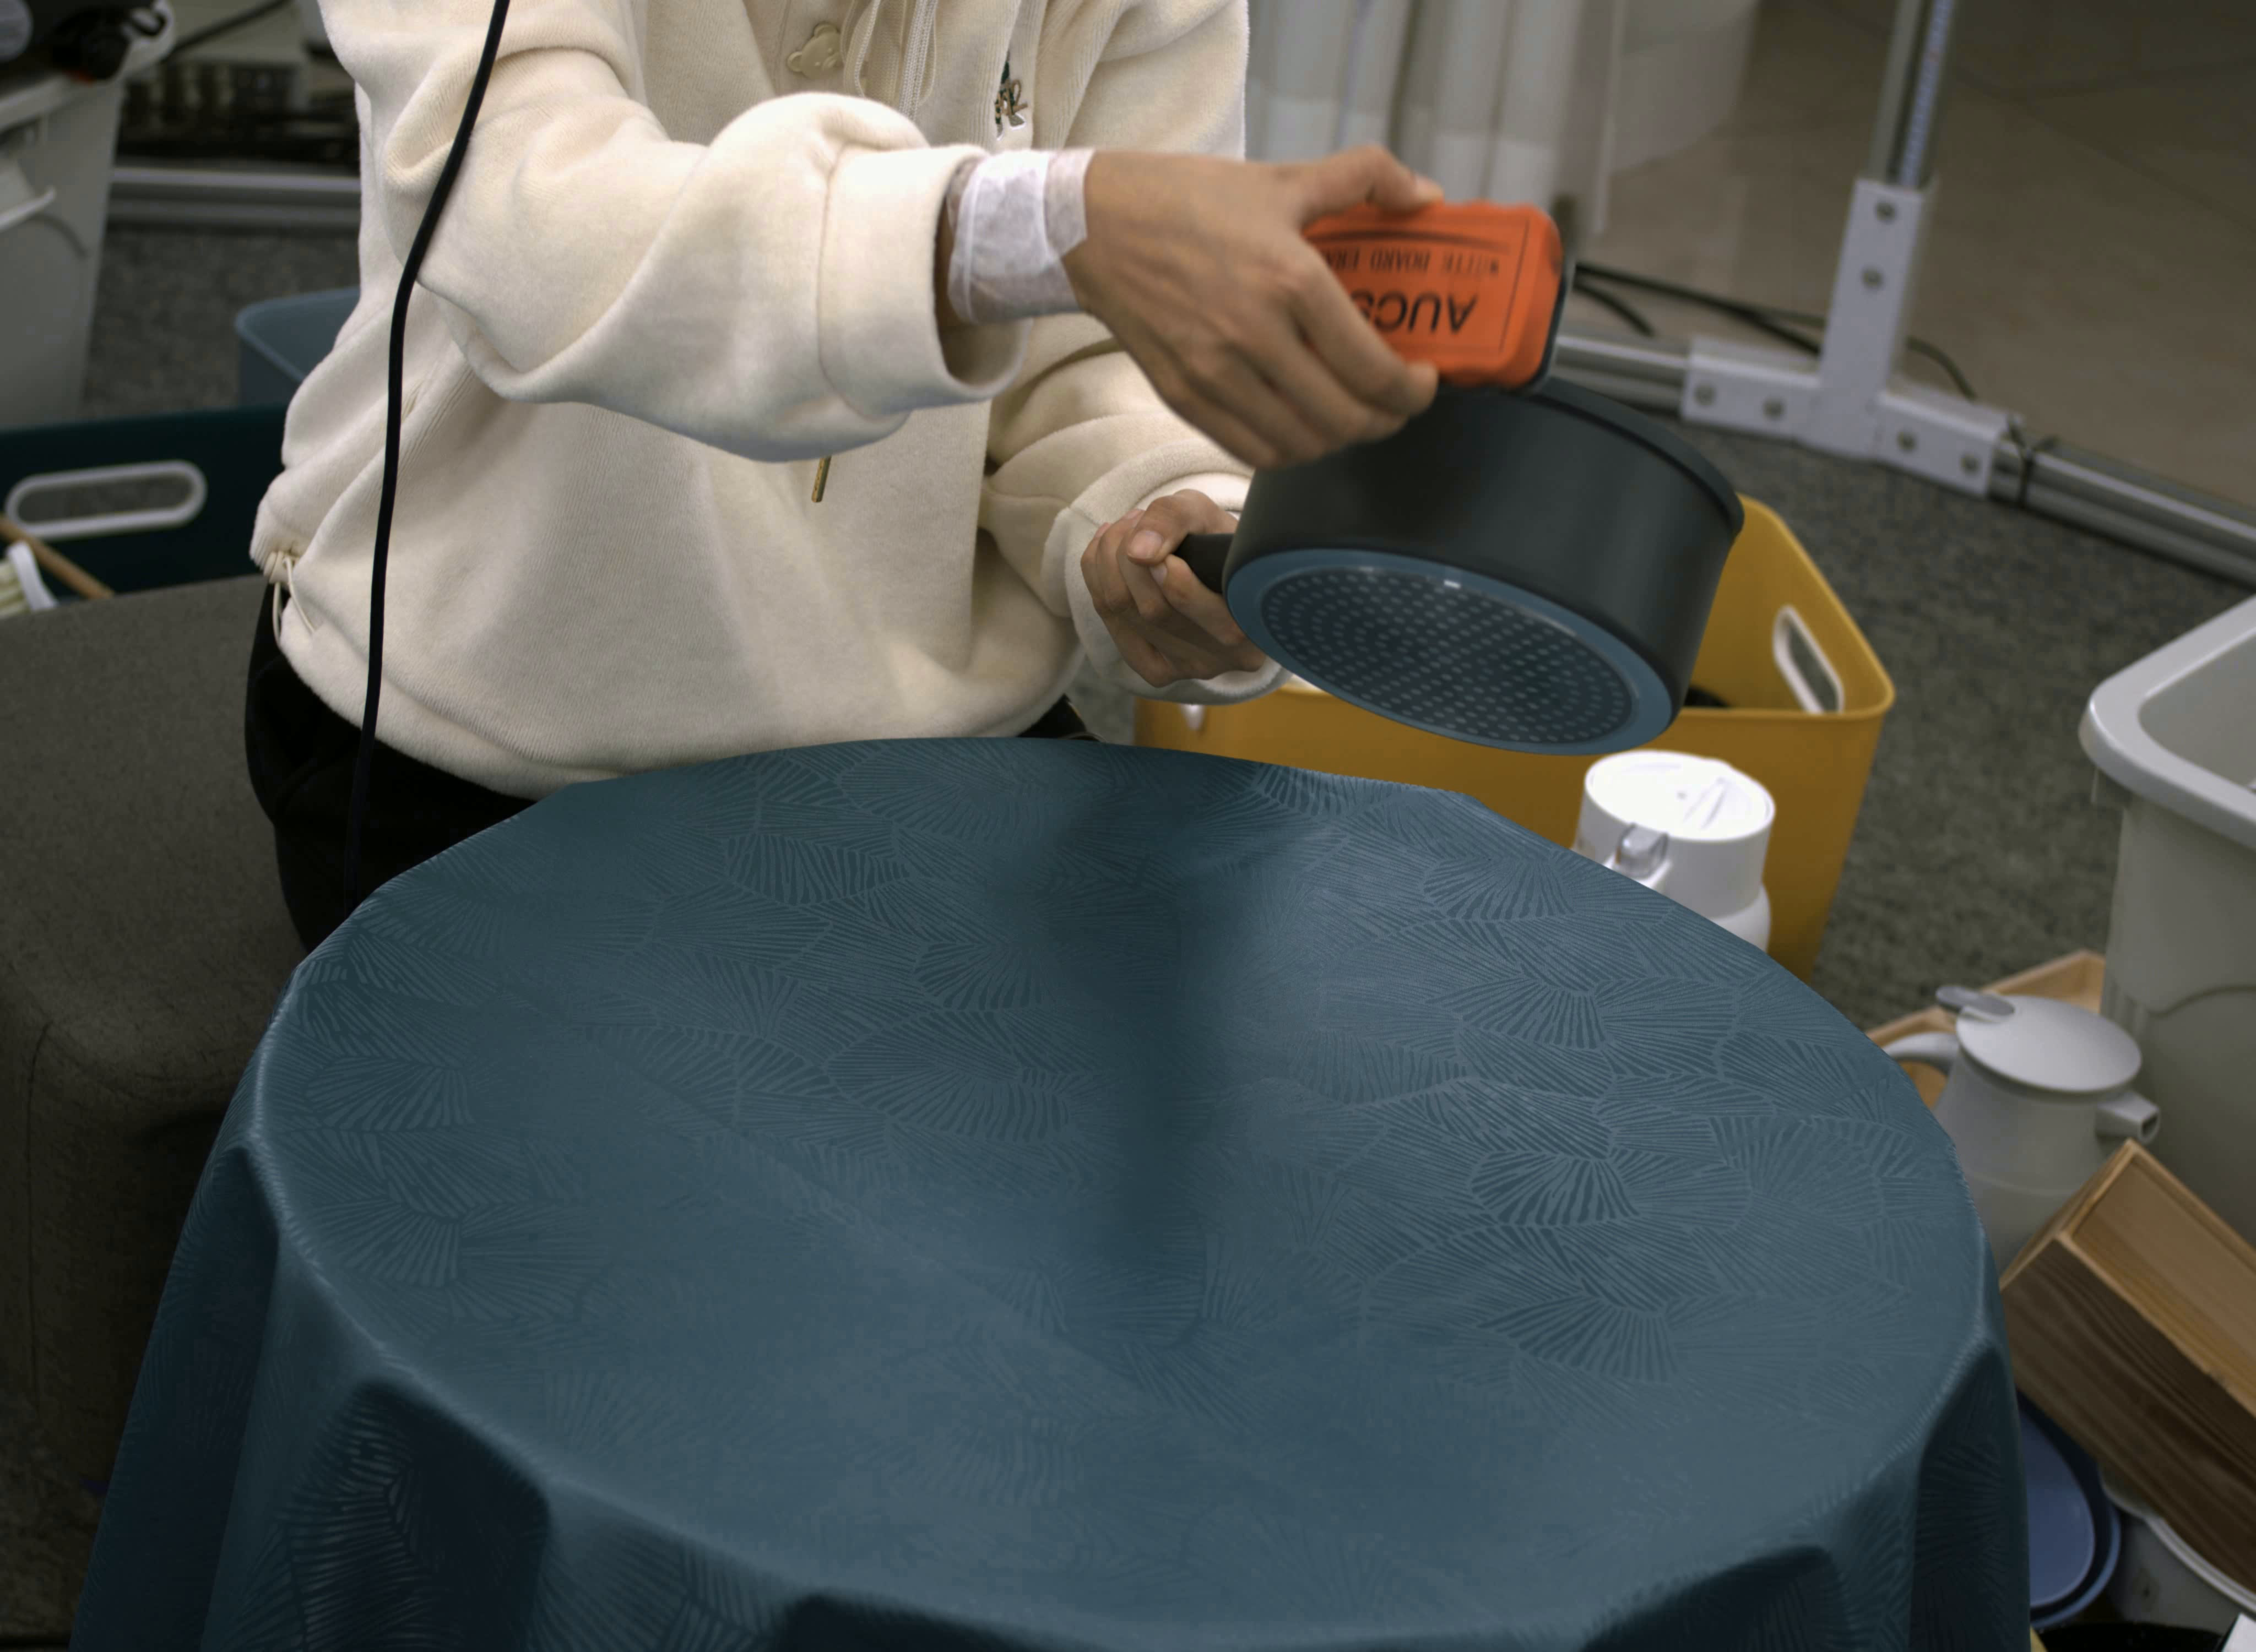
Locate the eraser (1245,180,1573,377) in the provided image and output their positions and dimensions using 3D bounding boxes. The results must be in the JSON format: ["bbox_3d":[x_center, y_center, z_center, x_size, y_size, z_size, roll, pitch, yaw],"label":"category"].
[{"bbox_3d":[0.090,-0.177,1.722,0.108,0.059,0.022,7,-9,38],"label":"eraser"}]

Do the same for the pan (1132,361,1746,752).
[{"bbox_3d":[0.081,-0.083,1.889,0.170,0.087,0.330,27,-18,-23],"label":"pan"}]
